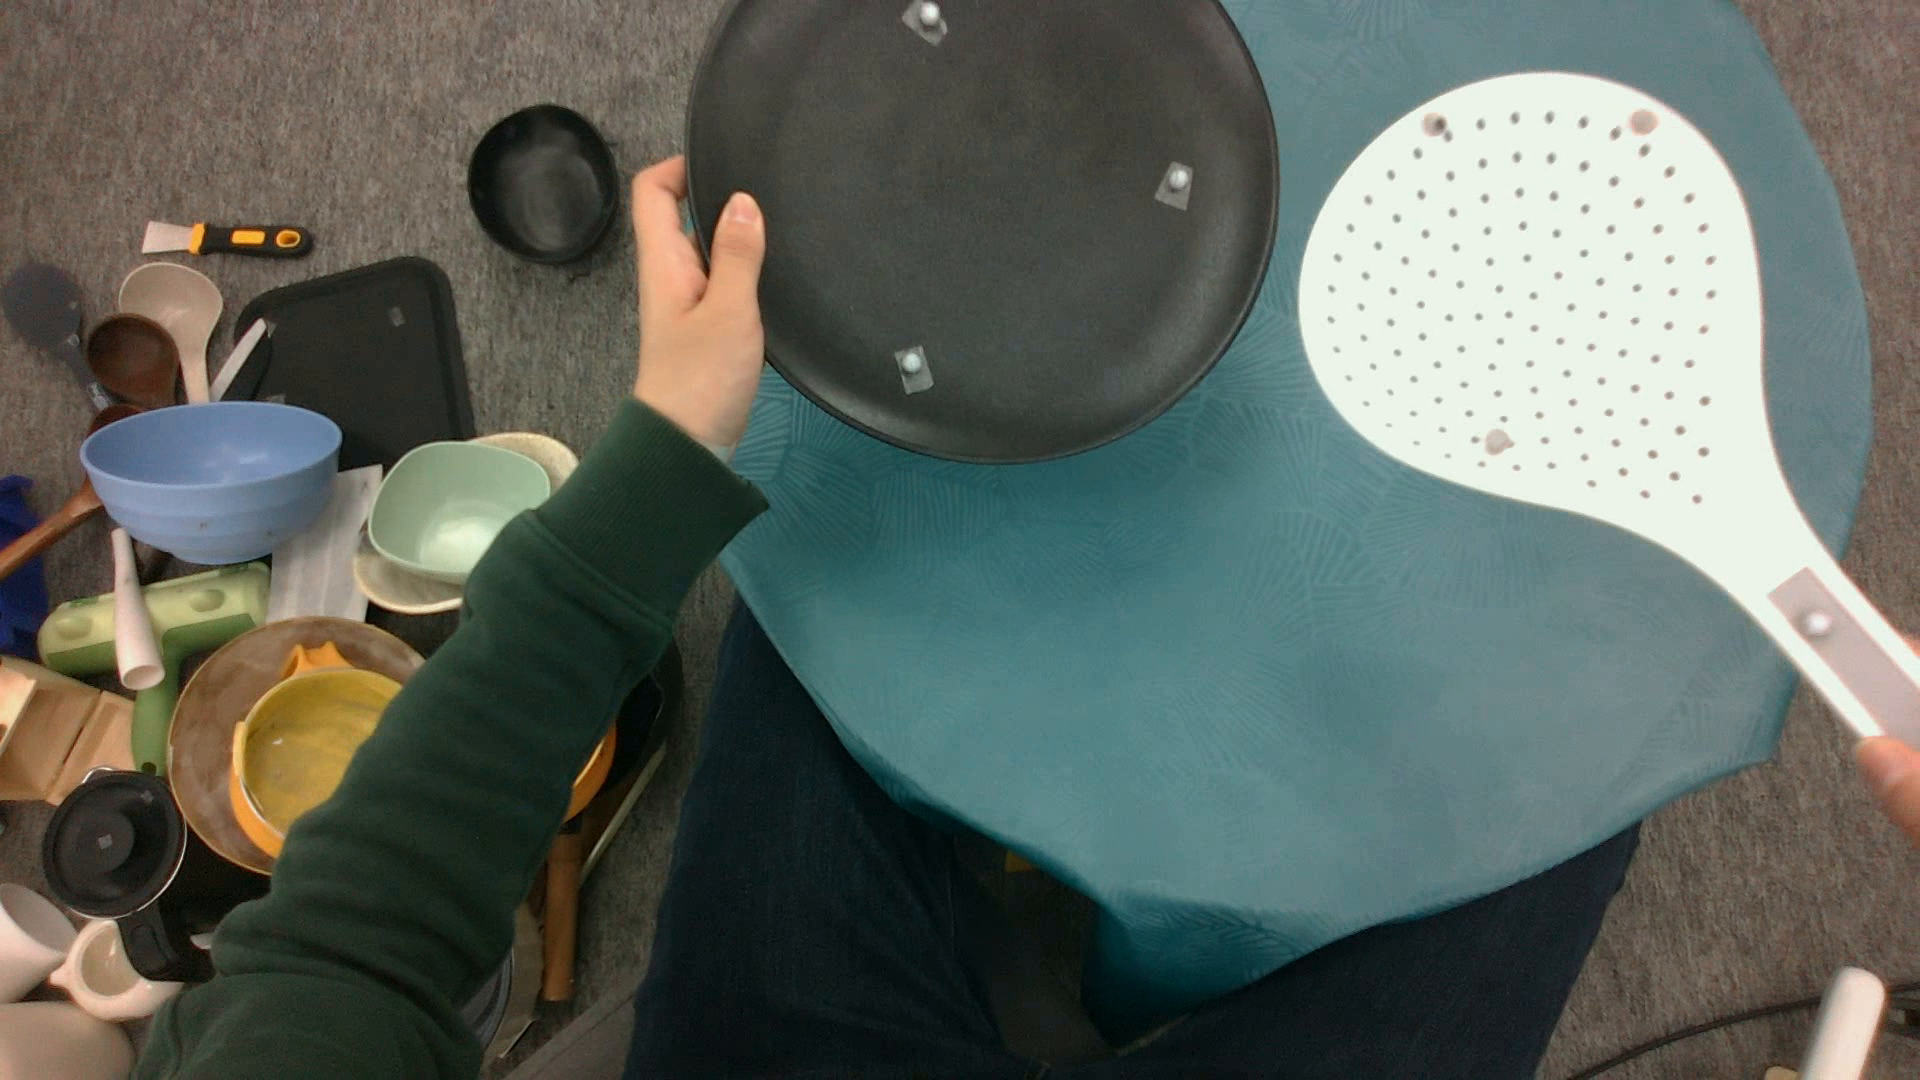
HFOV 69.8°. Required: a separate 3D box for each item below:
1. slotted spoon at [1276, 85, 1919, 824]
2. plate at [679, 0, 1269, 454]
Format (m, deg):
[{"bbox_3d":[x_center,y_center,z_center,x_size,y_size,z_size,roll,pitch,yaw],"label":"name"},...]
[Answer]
[{"bbox_3d":[0.238,-0.004,0.435,0.136,0.046,0.350,-38,67,8],"label":"slotted spoon"},{"bbox_3d":[0.008,-0.154,0.572,0.244,0.023,0.244,1,84,-8],"label":"plate"}]
